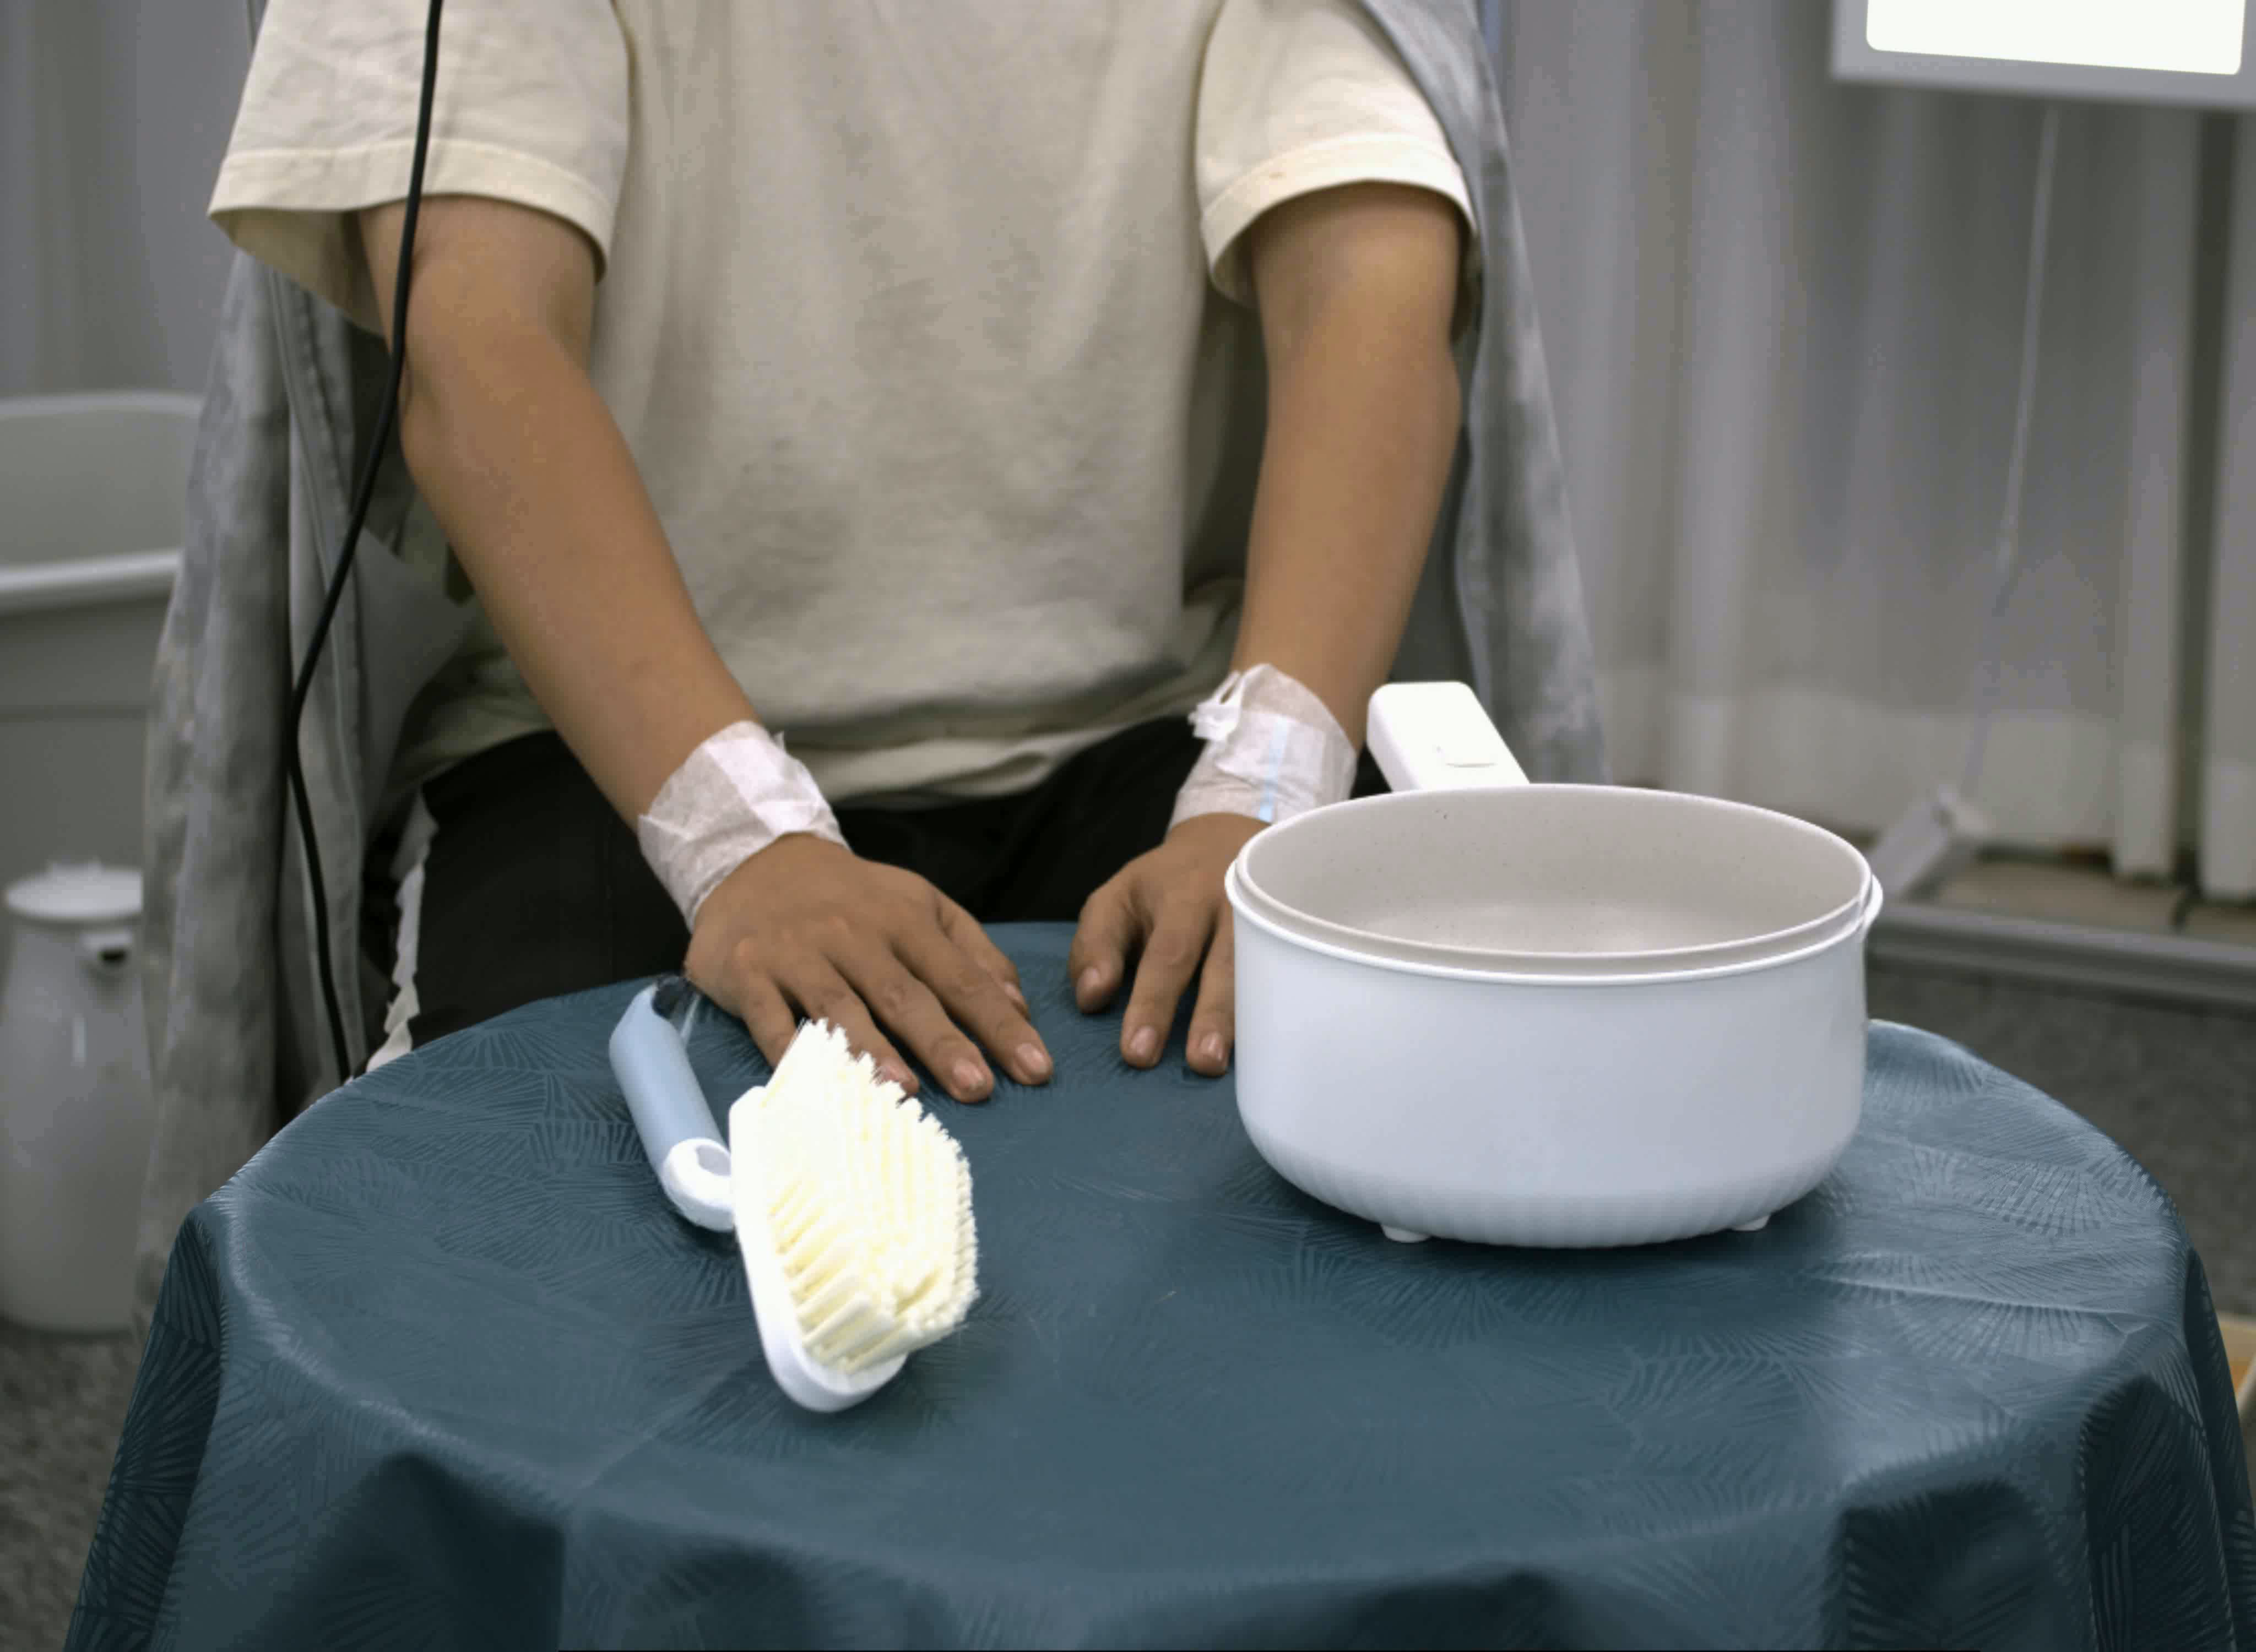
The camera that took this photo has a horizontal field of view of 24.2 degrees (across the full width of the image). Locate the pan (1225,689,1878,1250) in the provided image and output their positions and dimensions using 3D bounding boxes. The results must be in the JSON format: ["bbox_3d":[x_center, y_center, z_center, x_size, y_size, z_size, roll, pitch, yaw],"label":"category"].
[{"bbox_3d":[0.121,0.042,1.703,0.201,0.103,0.352,-2,15,-6],"label":"pan"}]

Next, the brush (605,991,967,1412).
[{"bbox_3d":[-0.102,0.082,1.576,0.084,0.084,0.322,-9,18,-10],"label":"brush"}]
